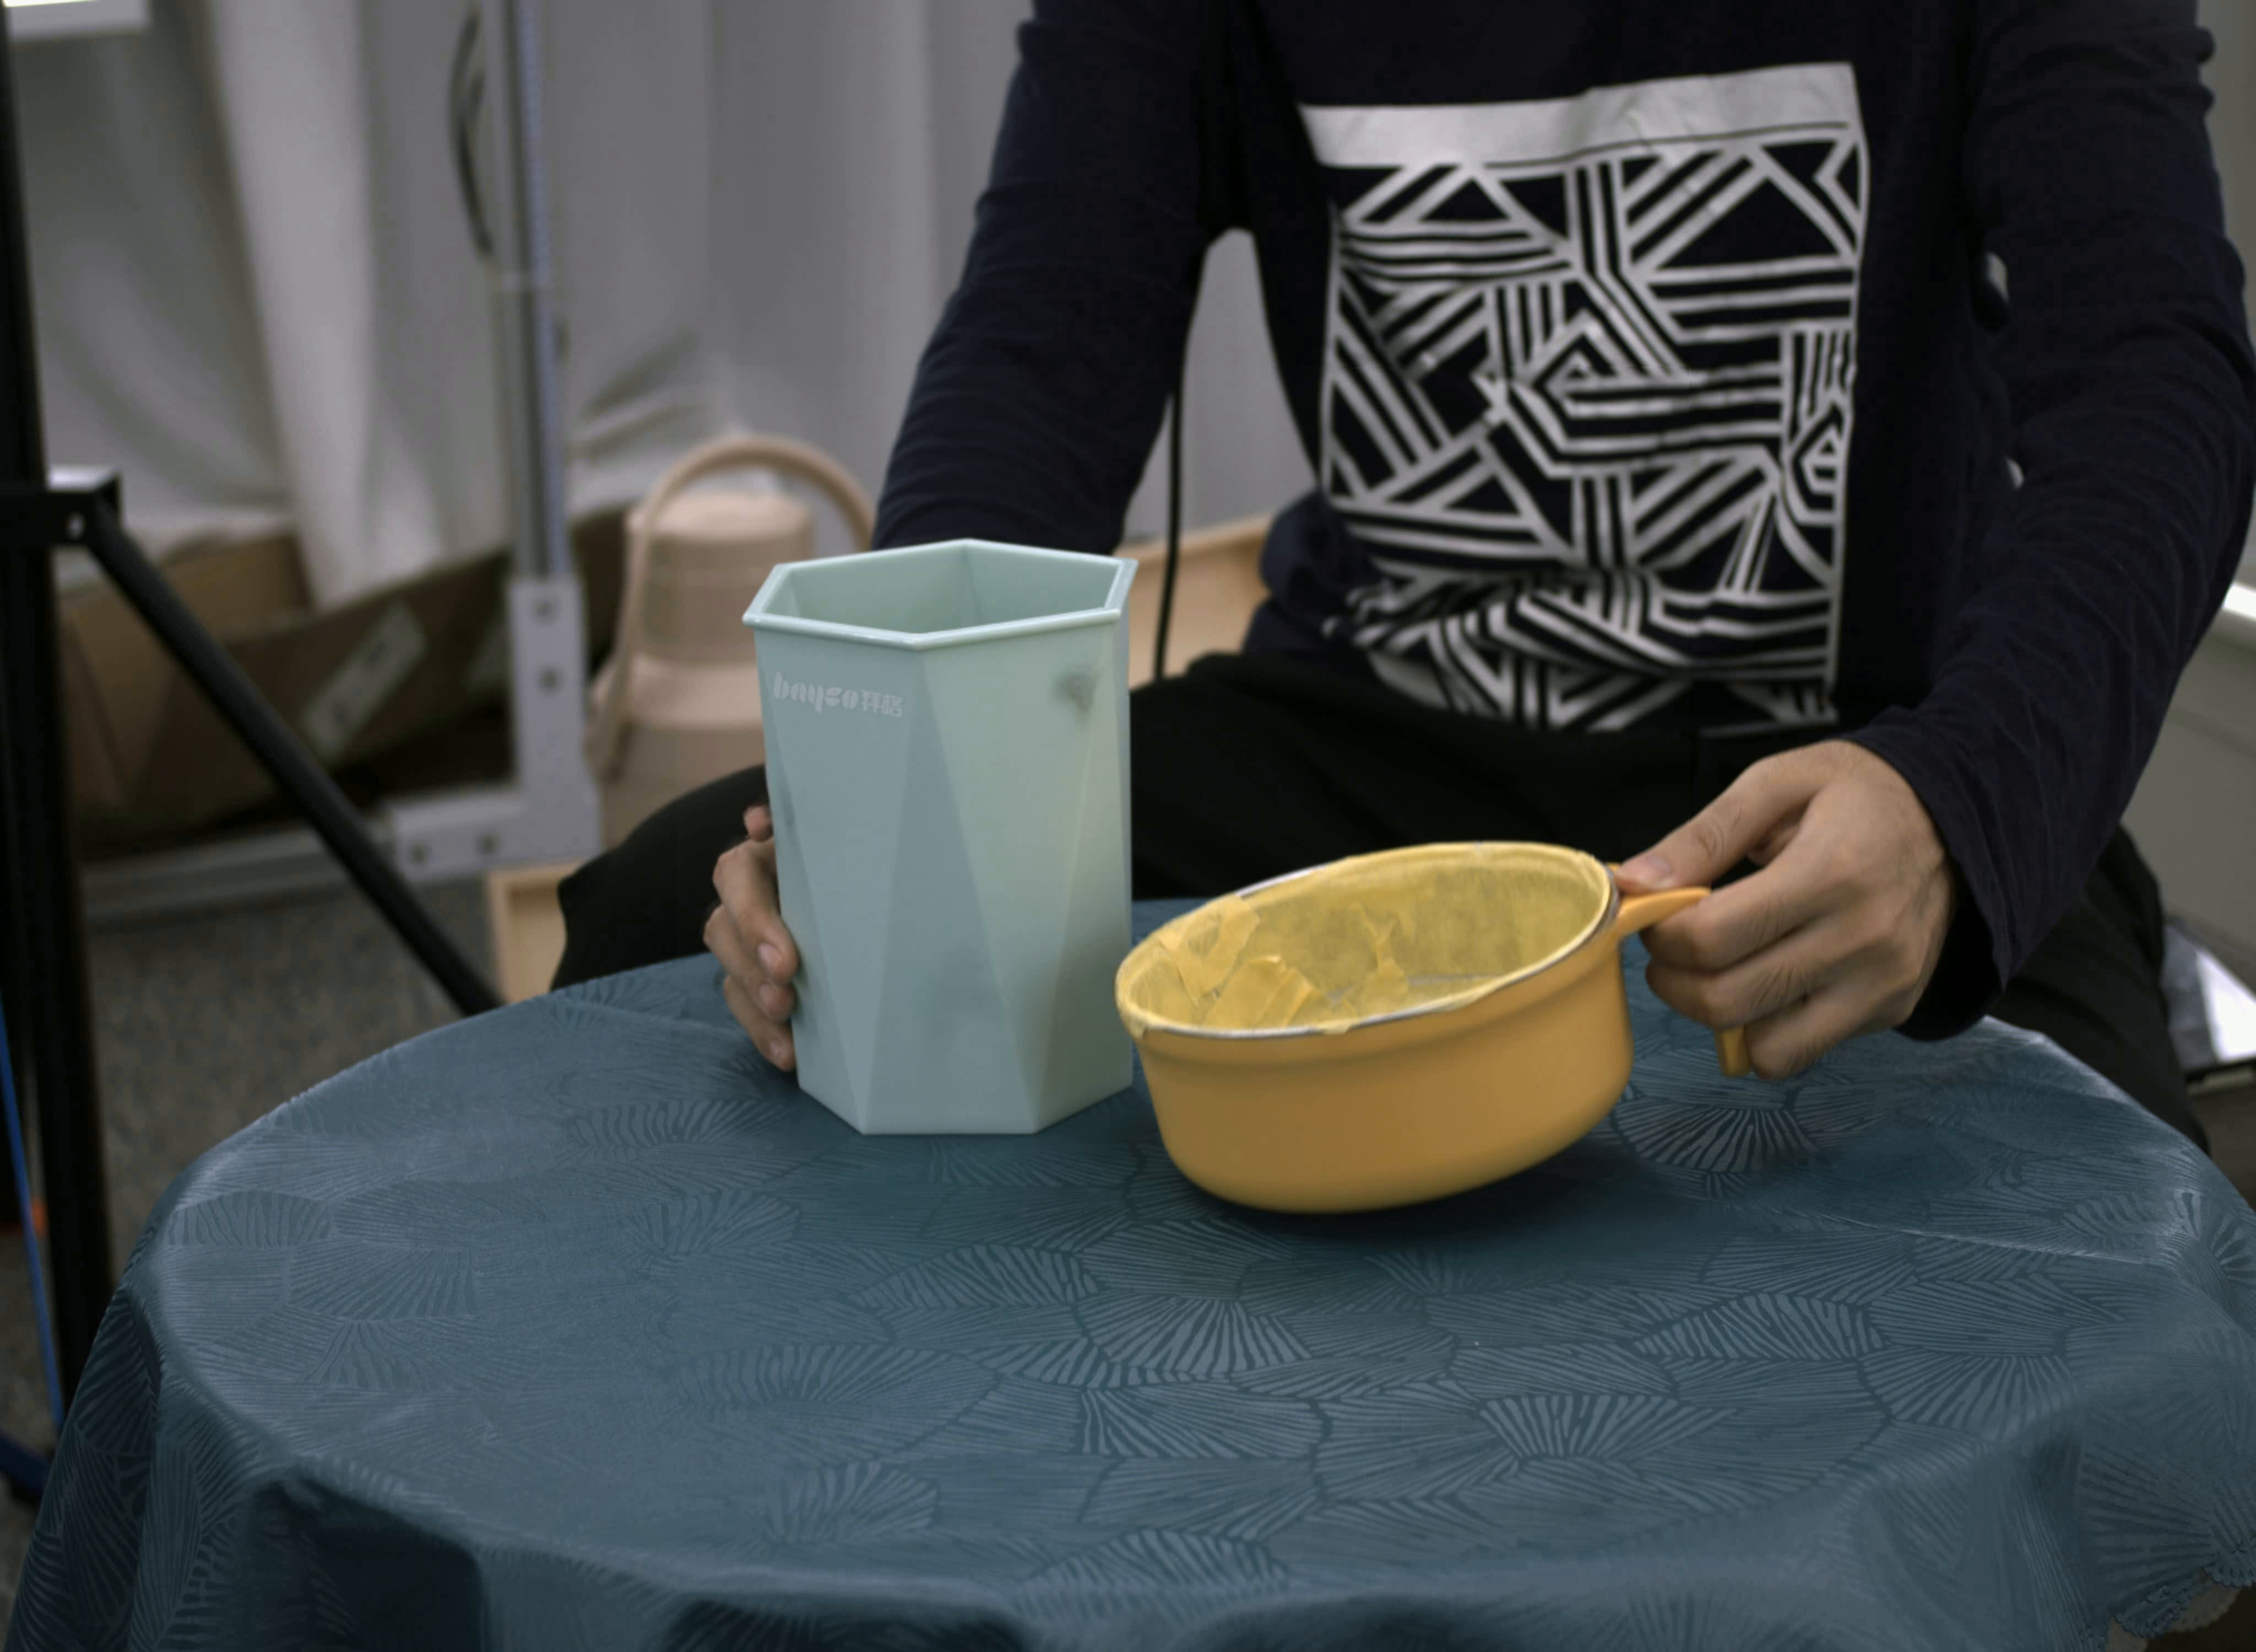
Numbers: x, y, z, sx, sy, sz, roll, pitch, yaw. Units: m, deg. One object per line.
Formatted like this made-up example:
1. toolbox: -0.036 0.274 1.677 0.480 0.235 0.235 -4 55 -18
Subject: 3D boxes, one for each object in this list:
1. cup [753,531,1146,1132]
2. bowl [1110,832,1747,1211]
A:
1. cup: -0.053 0.003 1.639 0.133 0.163 0.113 9 18 33
2. bowl: 0.089 0.057 1.553 0.178 0.074 0.154 -14 14 -2
